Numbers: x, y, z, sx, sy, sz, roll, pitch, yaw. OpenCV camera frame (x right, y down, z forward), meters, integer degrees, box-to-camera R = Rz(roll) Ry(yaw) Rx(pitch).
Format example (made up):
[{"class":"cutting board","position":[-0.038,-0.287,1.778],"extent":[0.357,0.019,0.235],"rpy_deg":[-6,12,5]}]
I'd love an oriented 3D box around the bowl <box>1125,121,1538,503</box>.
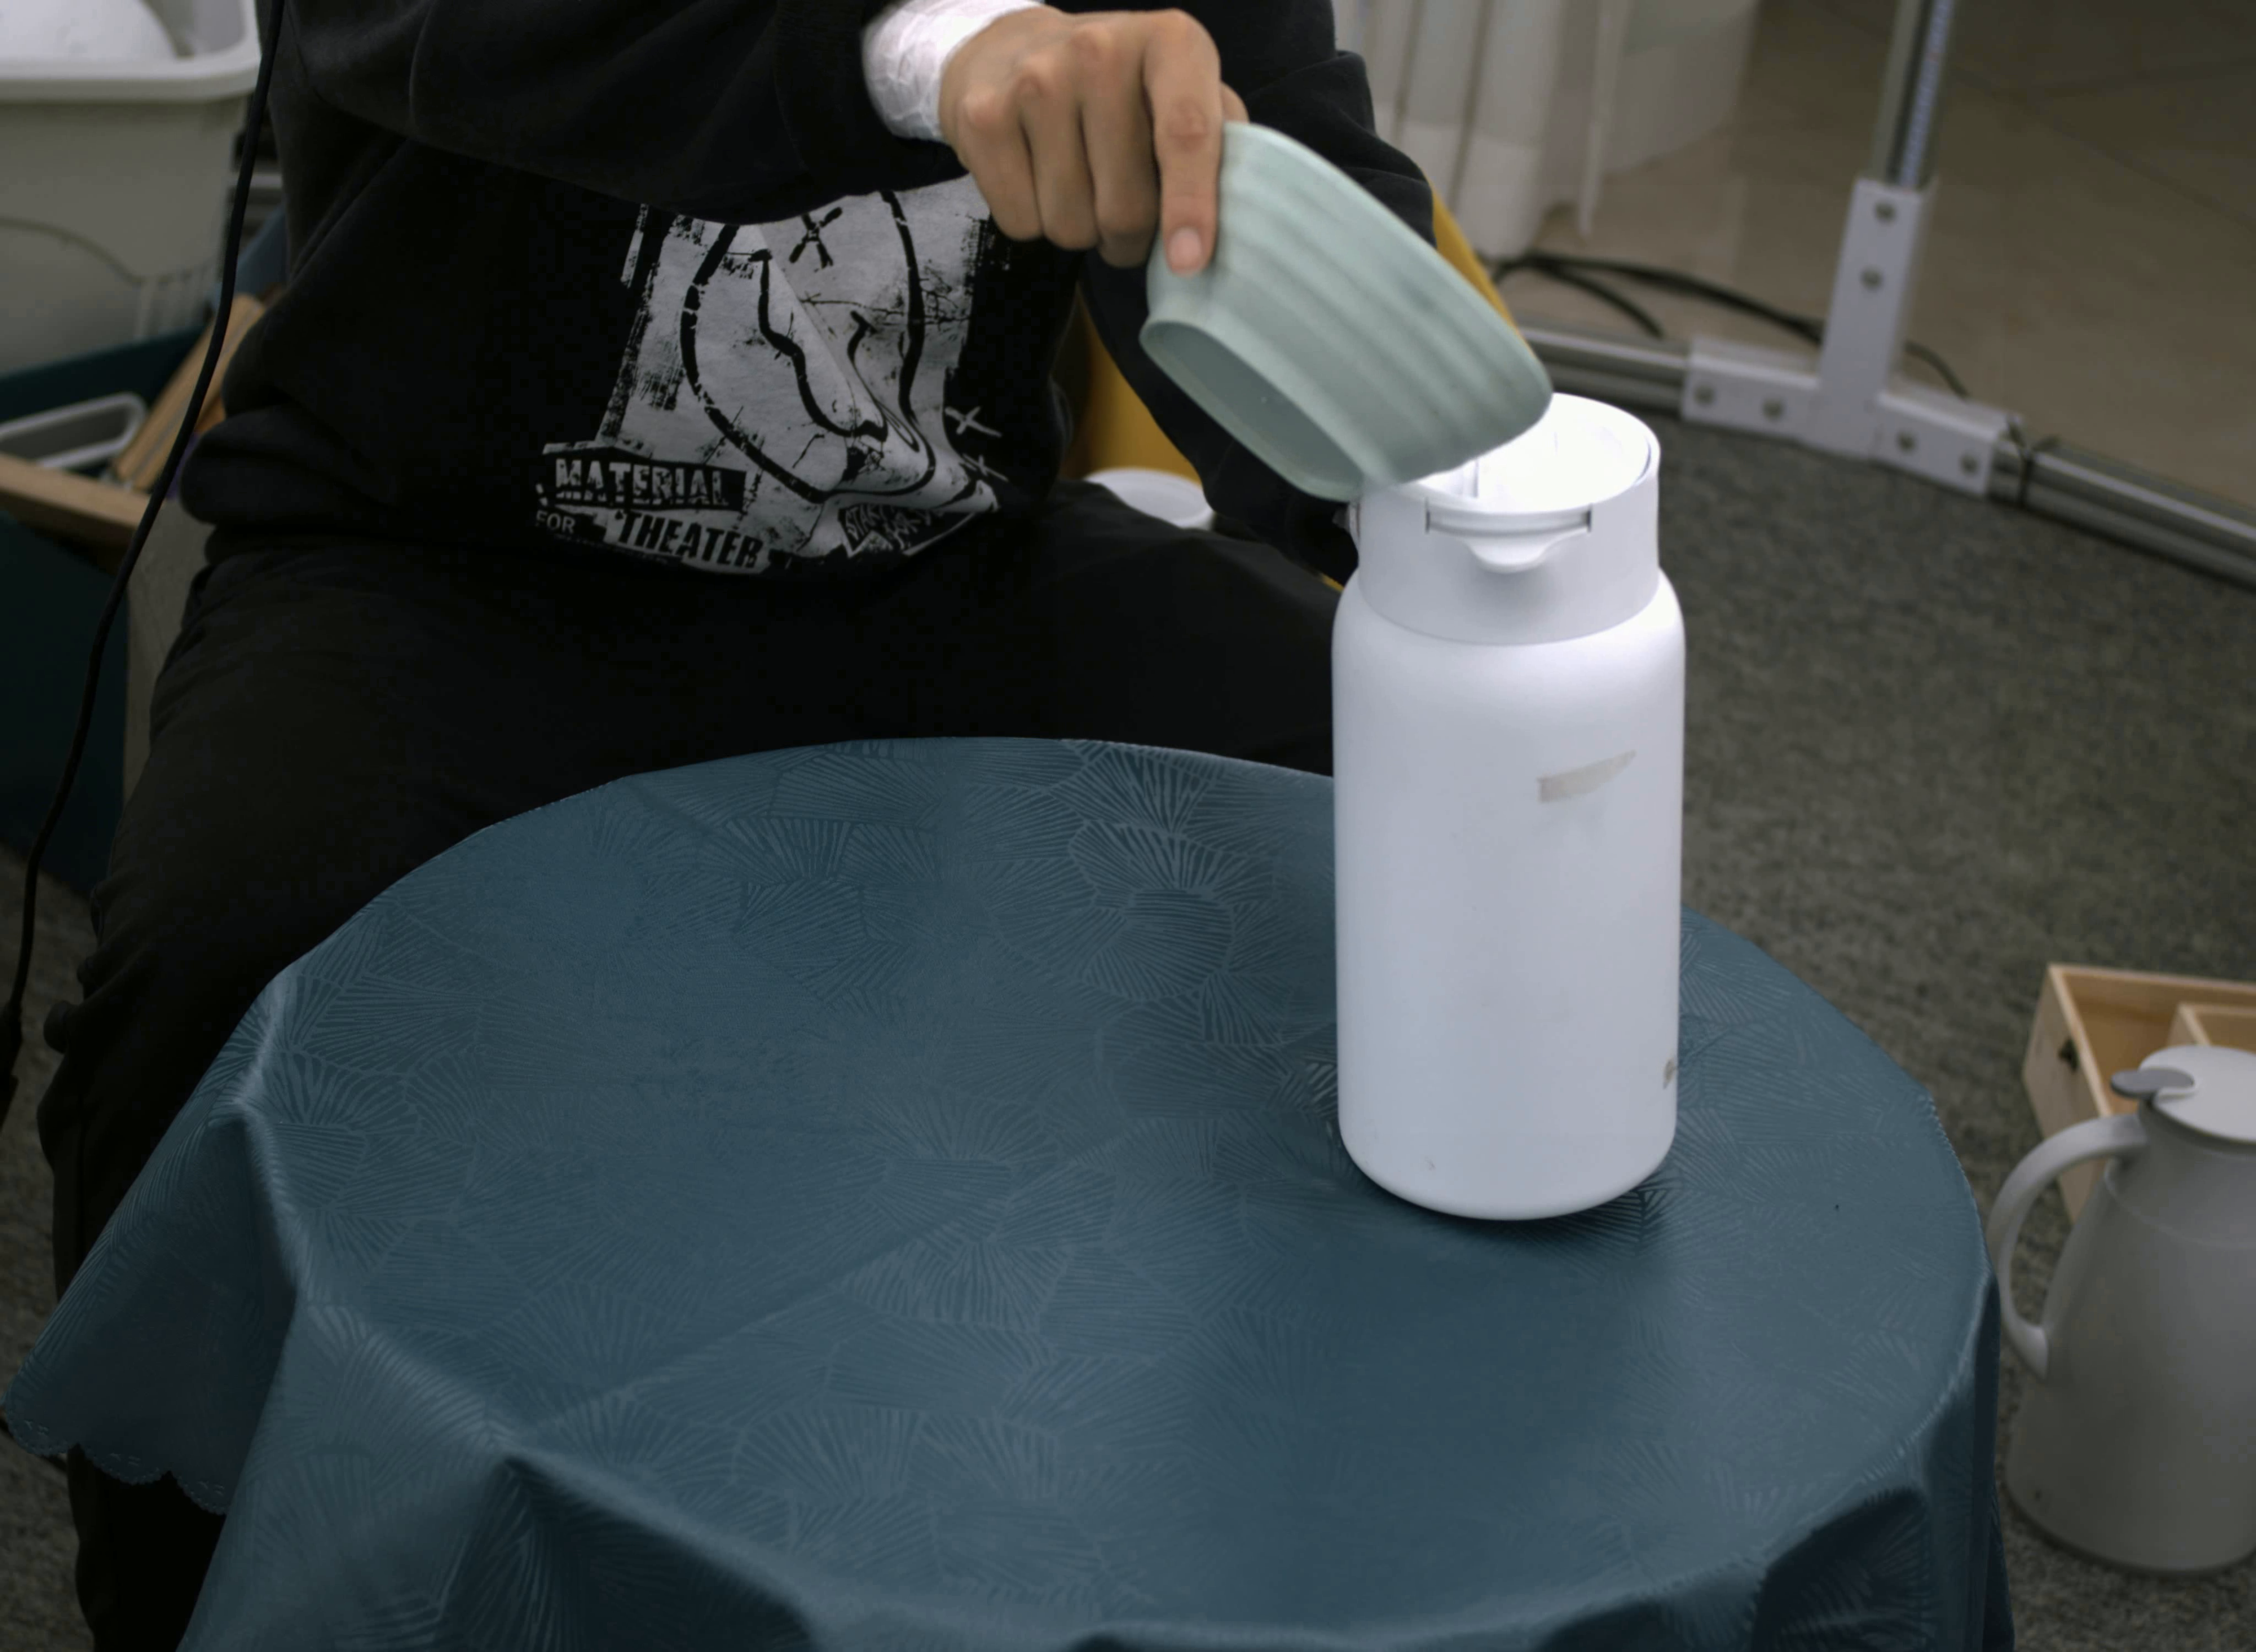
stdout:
[{"class":"bowl","position":[0.052,-0.149,1.646],"extent":[0.152,0.150,0.059],"rpy_deg":[31,77,38]}]

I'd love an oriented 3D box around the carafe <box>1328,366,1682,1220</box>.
[{"class":"carafe","position":[0.126,-0.015,1.803],"extent":[0.123,0.268,0.174],"rpy_deg":[-3,28,4]}]
